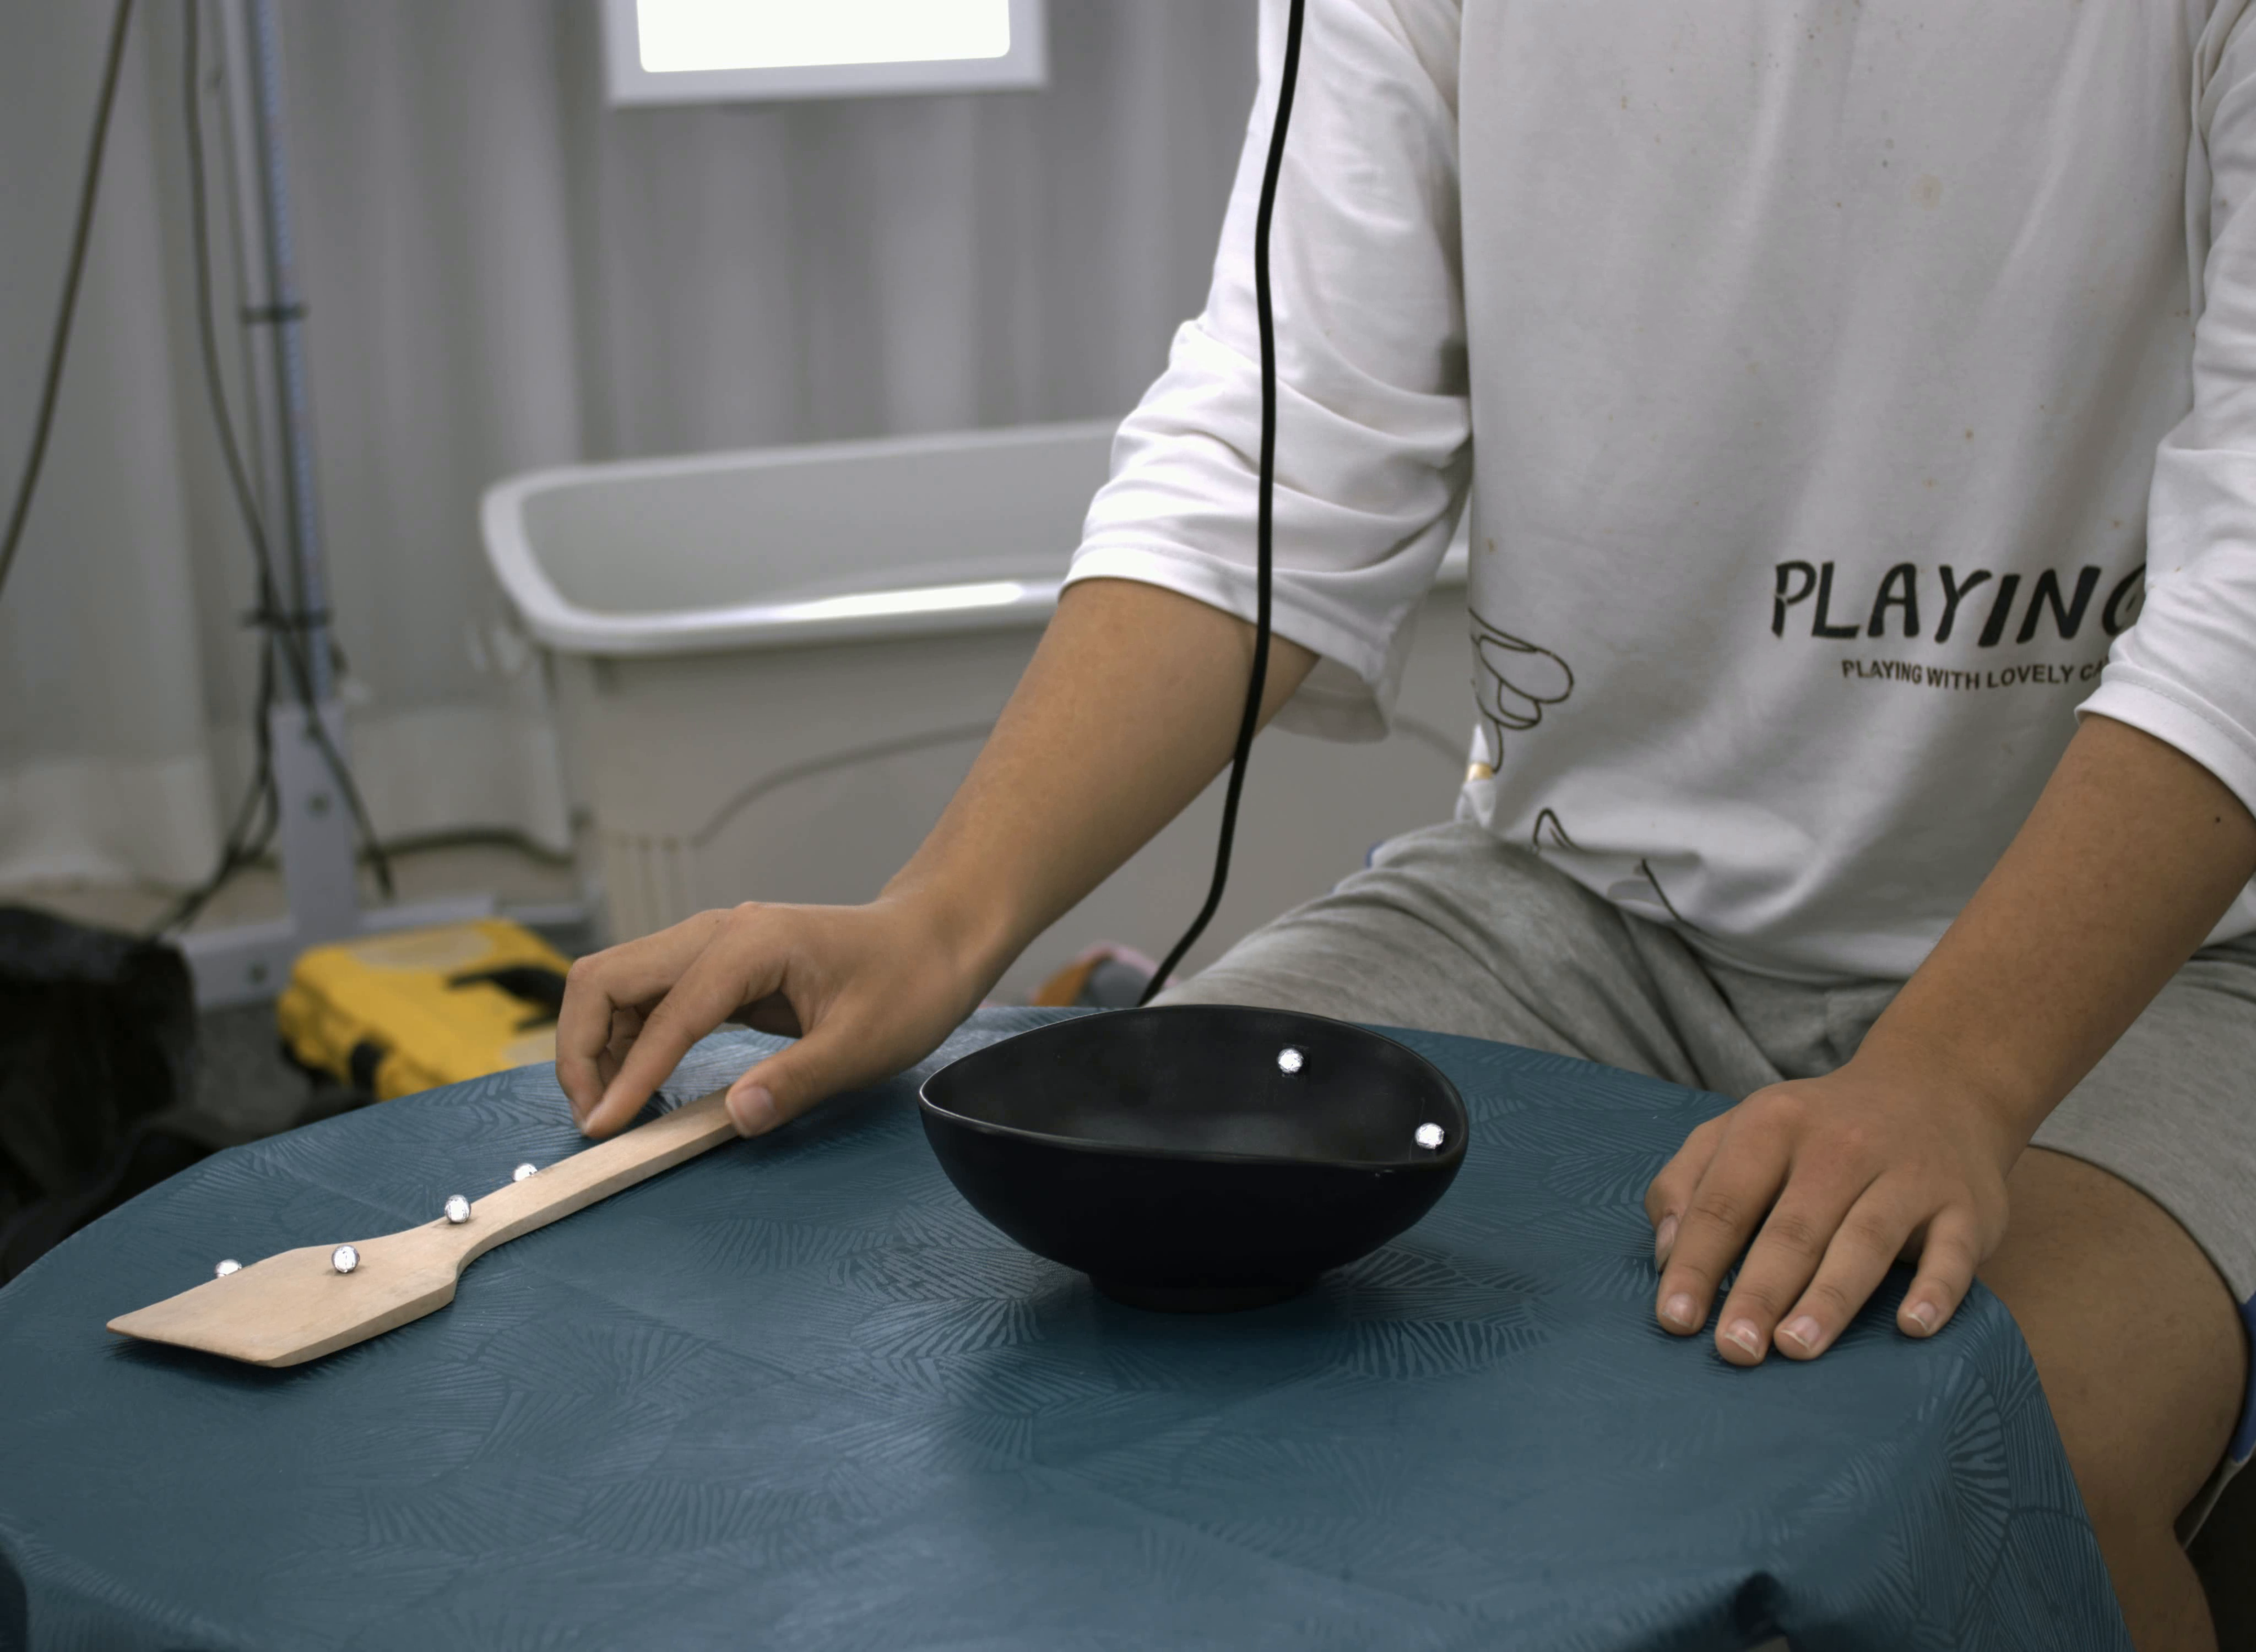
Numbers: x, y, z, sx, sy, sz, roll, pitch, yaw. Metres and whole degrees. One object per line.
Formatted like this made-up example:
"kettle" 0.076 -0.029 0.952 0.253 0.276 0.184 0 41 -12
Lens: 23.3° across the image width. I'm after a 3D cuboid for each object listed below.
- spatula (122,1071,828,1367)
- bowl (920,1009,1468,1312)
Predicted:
"spatula" -0.191 0.120 1.714 0.072 0.010 0.293 6 17 34
"bowl" 0.020 0.104 1.632 0.170 0.066 0.137 5 16 21
